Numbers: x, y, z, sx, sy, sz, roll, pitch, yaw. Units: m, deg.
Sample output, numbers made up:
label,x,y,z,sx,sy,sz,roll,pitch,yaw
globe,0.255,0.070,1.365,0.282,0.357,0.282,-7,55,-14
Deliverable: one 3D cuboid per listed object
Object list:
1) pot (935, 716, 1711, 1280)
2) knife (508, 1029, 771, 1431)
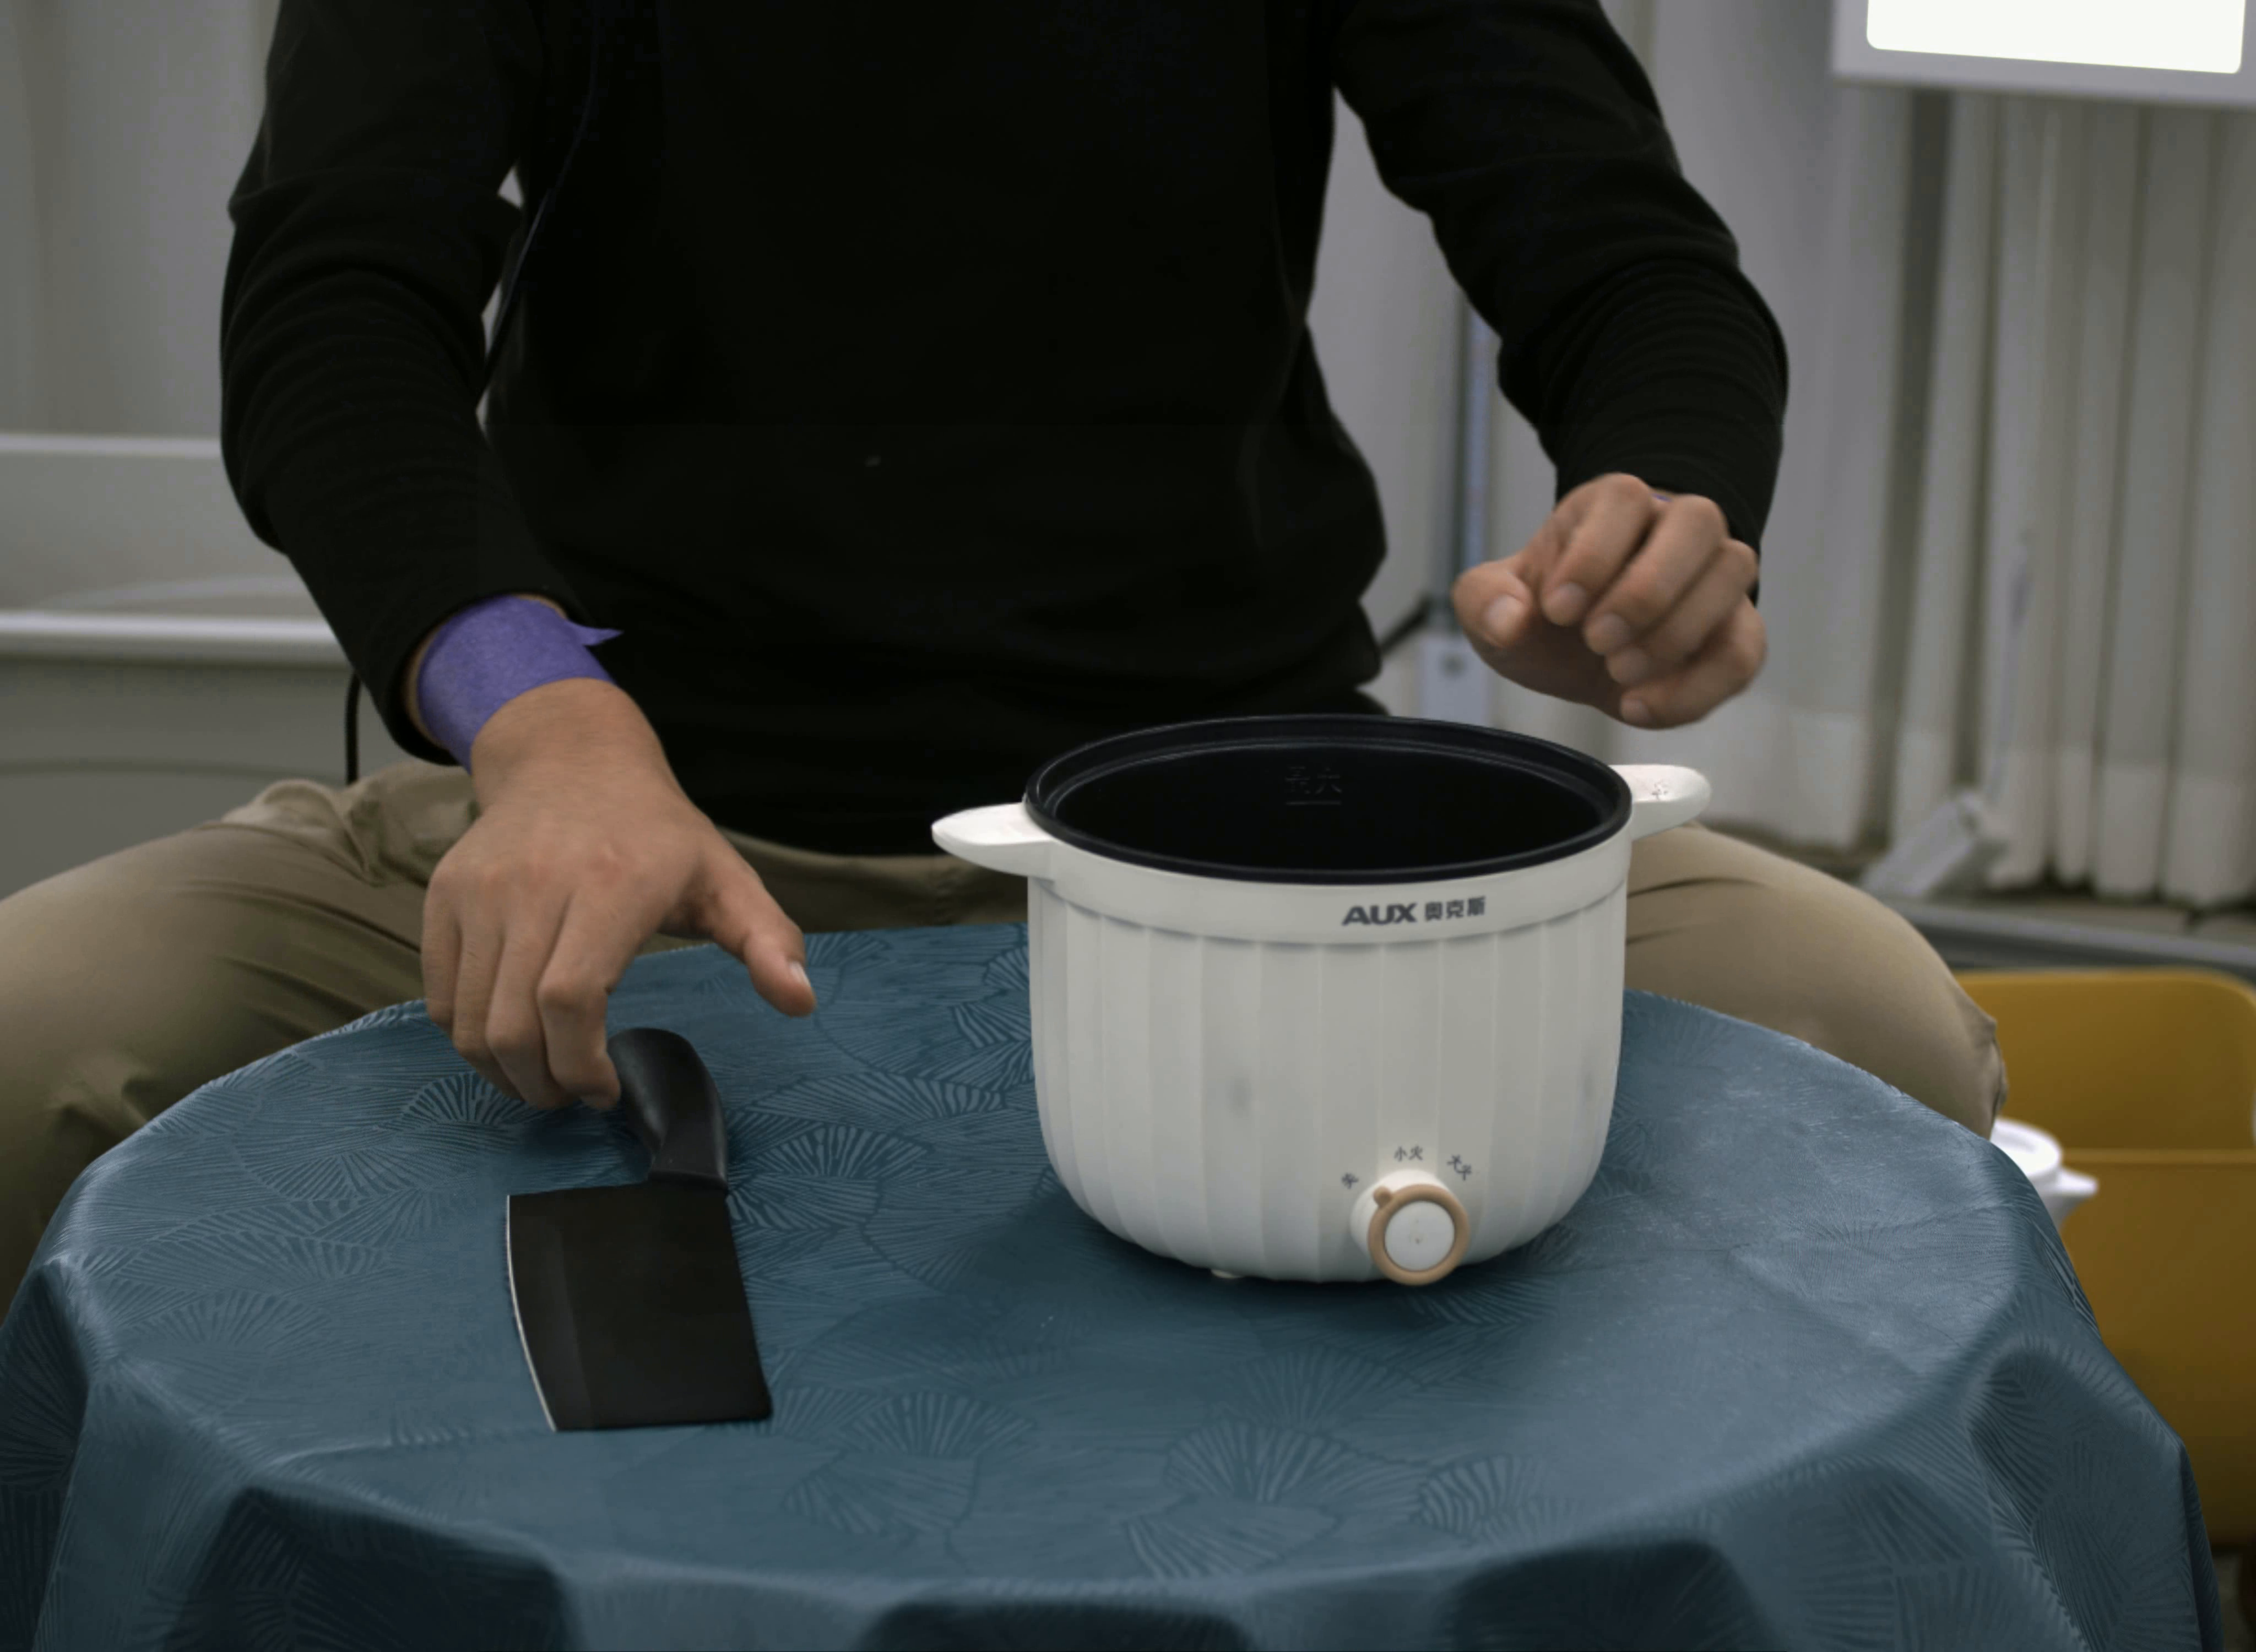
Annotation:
label,x,y,z,sx,sy,sz,roll,pitch,yaw
pot,0.062,0.054,1.576,0.240,0.144,0.189,-5,13,-14
knife,-0.146,0.118,1.571,0.081,0.021,0.300,-1,18,-3
